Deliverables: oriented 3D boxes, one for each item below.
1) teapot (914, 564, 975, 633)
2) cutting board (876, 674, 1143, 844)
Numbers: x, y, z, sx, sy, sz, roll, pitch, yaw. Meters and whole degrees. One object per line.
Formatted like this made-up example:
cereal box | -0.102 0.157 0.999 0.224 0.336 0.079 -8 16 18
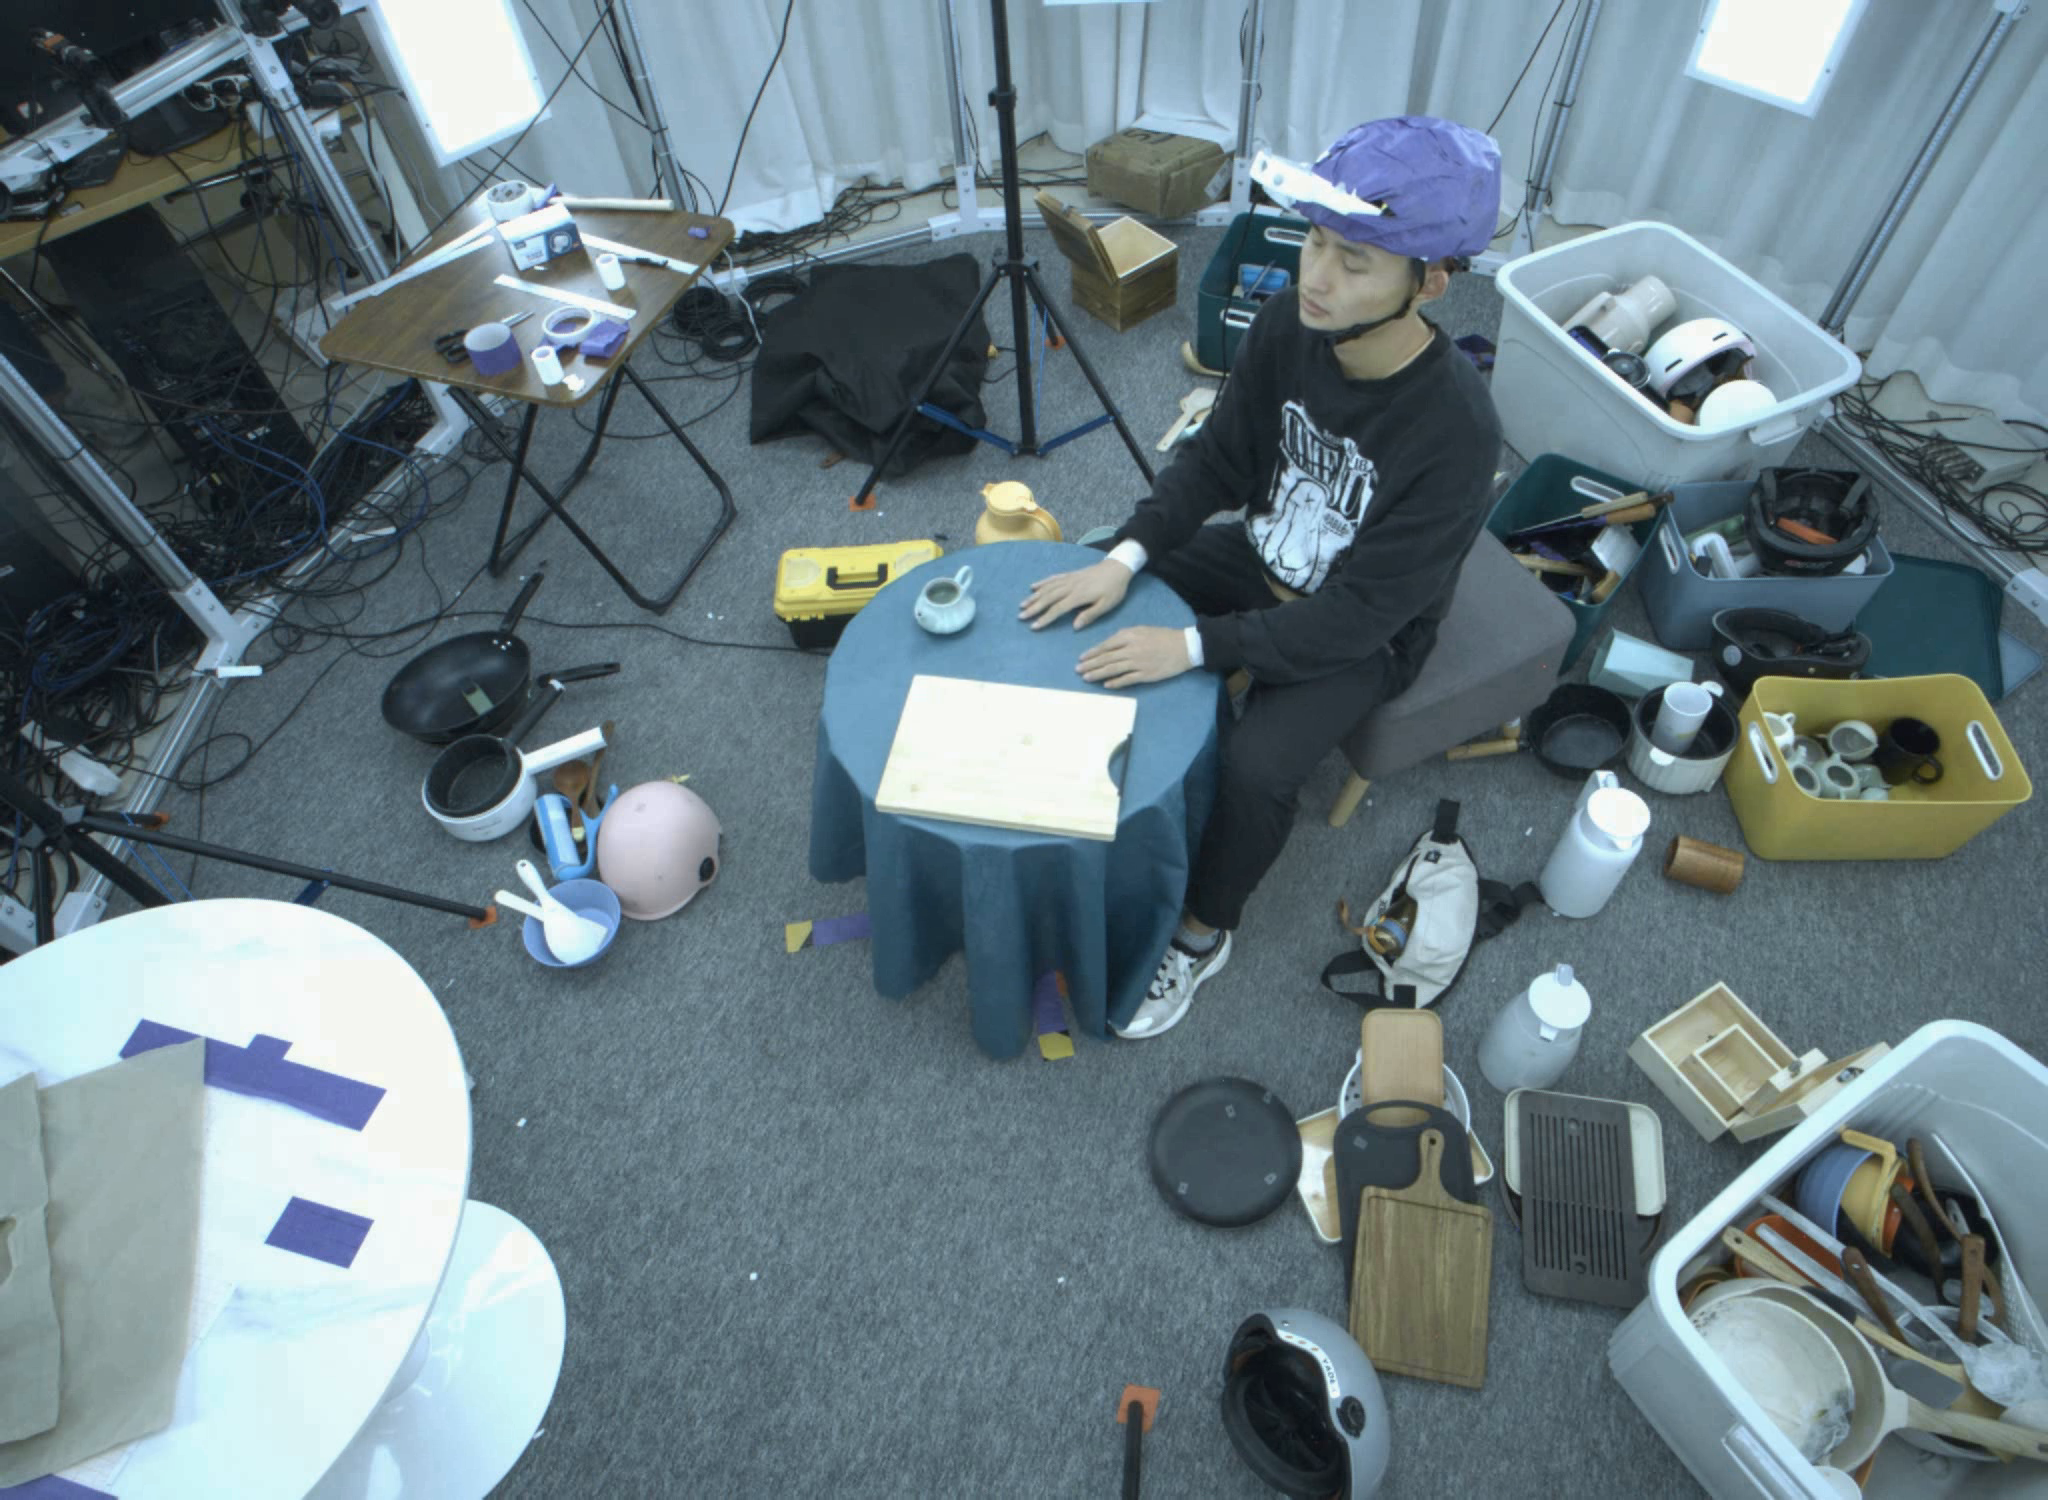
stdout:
teapot | -0.124 -0.232 1.916 0.095 0.062 0.137 25 59 21
cutting board | -0.016 0.007 1.769 0.347 0.024 0.249 6 55 6
